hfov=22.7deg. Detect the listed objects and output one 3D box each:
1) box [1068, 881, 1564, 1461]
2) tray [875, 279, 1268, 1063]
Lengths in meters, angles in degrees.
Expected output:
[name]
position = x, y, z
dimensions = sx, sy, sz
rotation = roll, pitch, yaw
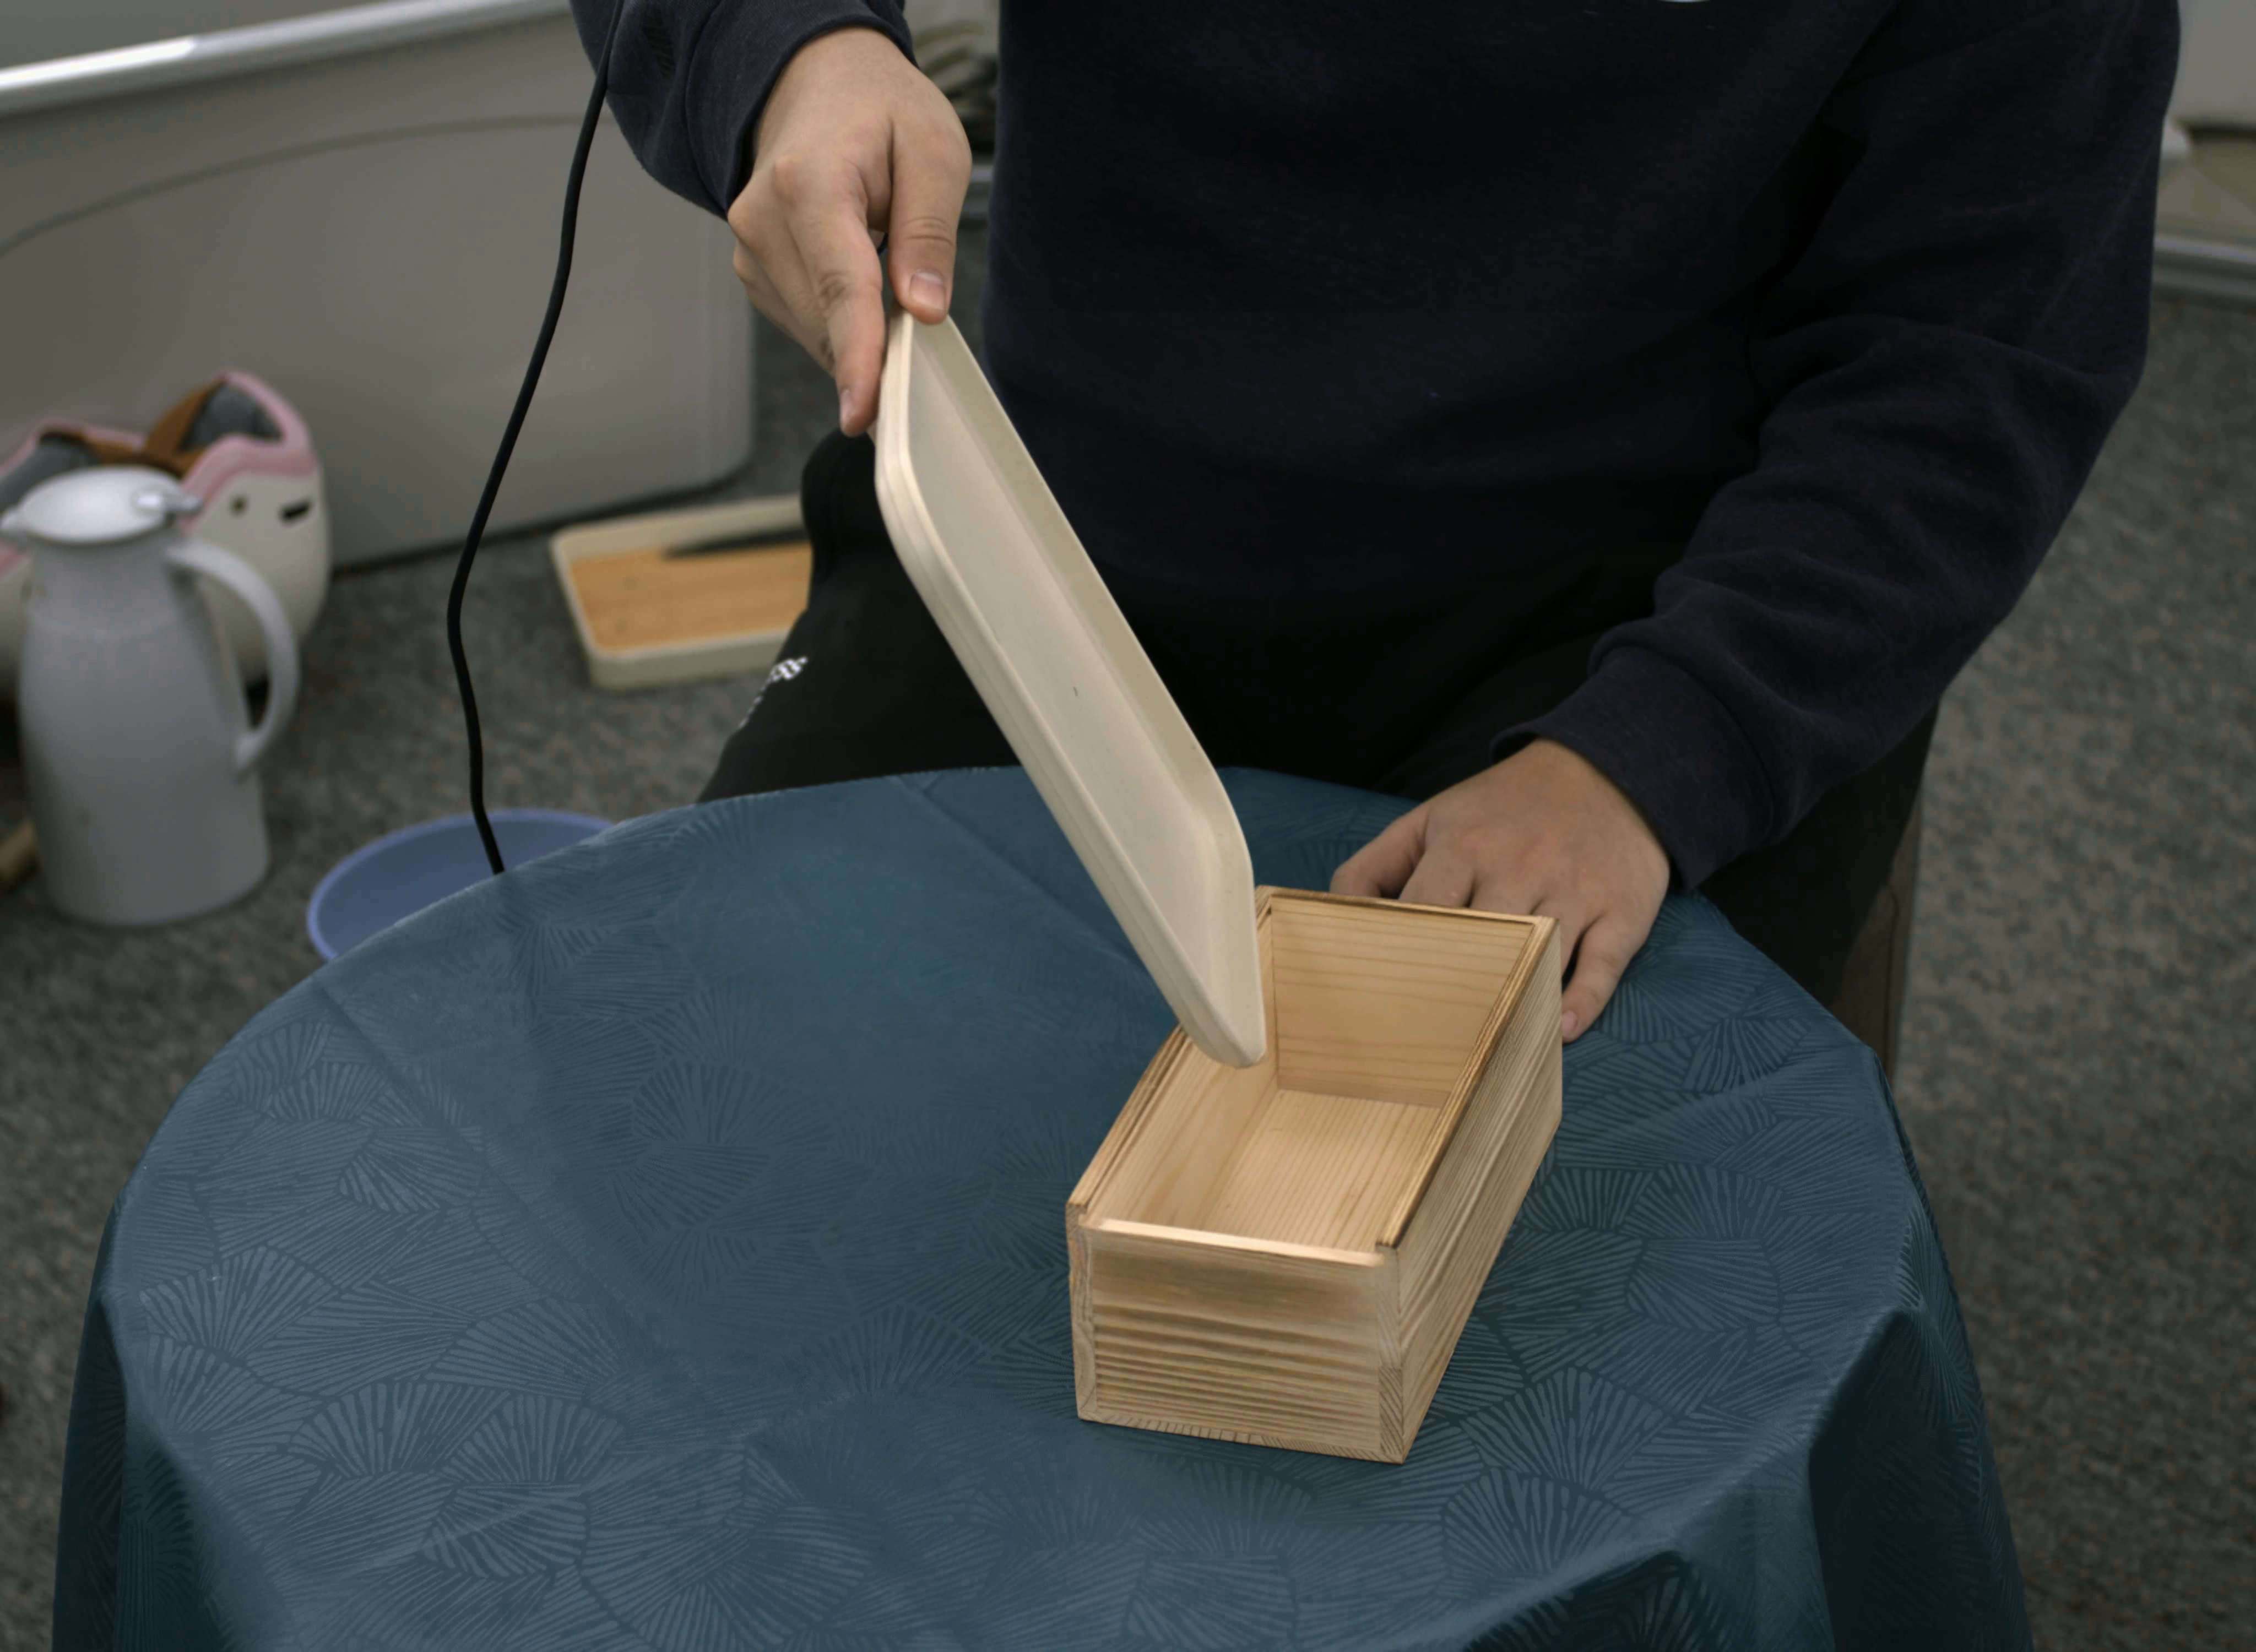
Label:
[box]
position = 0.064, 0.107, 1.802
dimensions = 0.107, 0.079, 0.215
rotation = 6, 28, 16
[tray]
position = -0.020, -0.047, 1.760
dimensions = 0.017, 0.238, 0.174
rotation = -25, 26, 11
